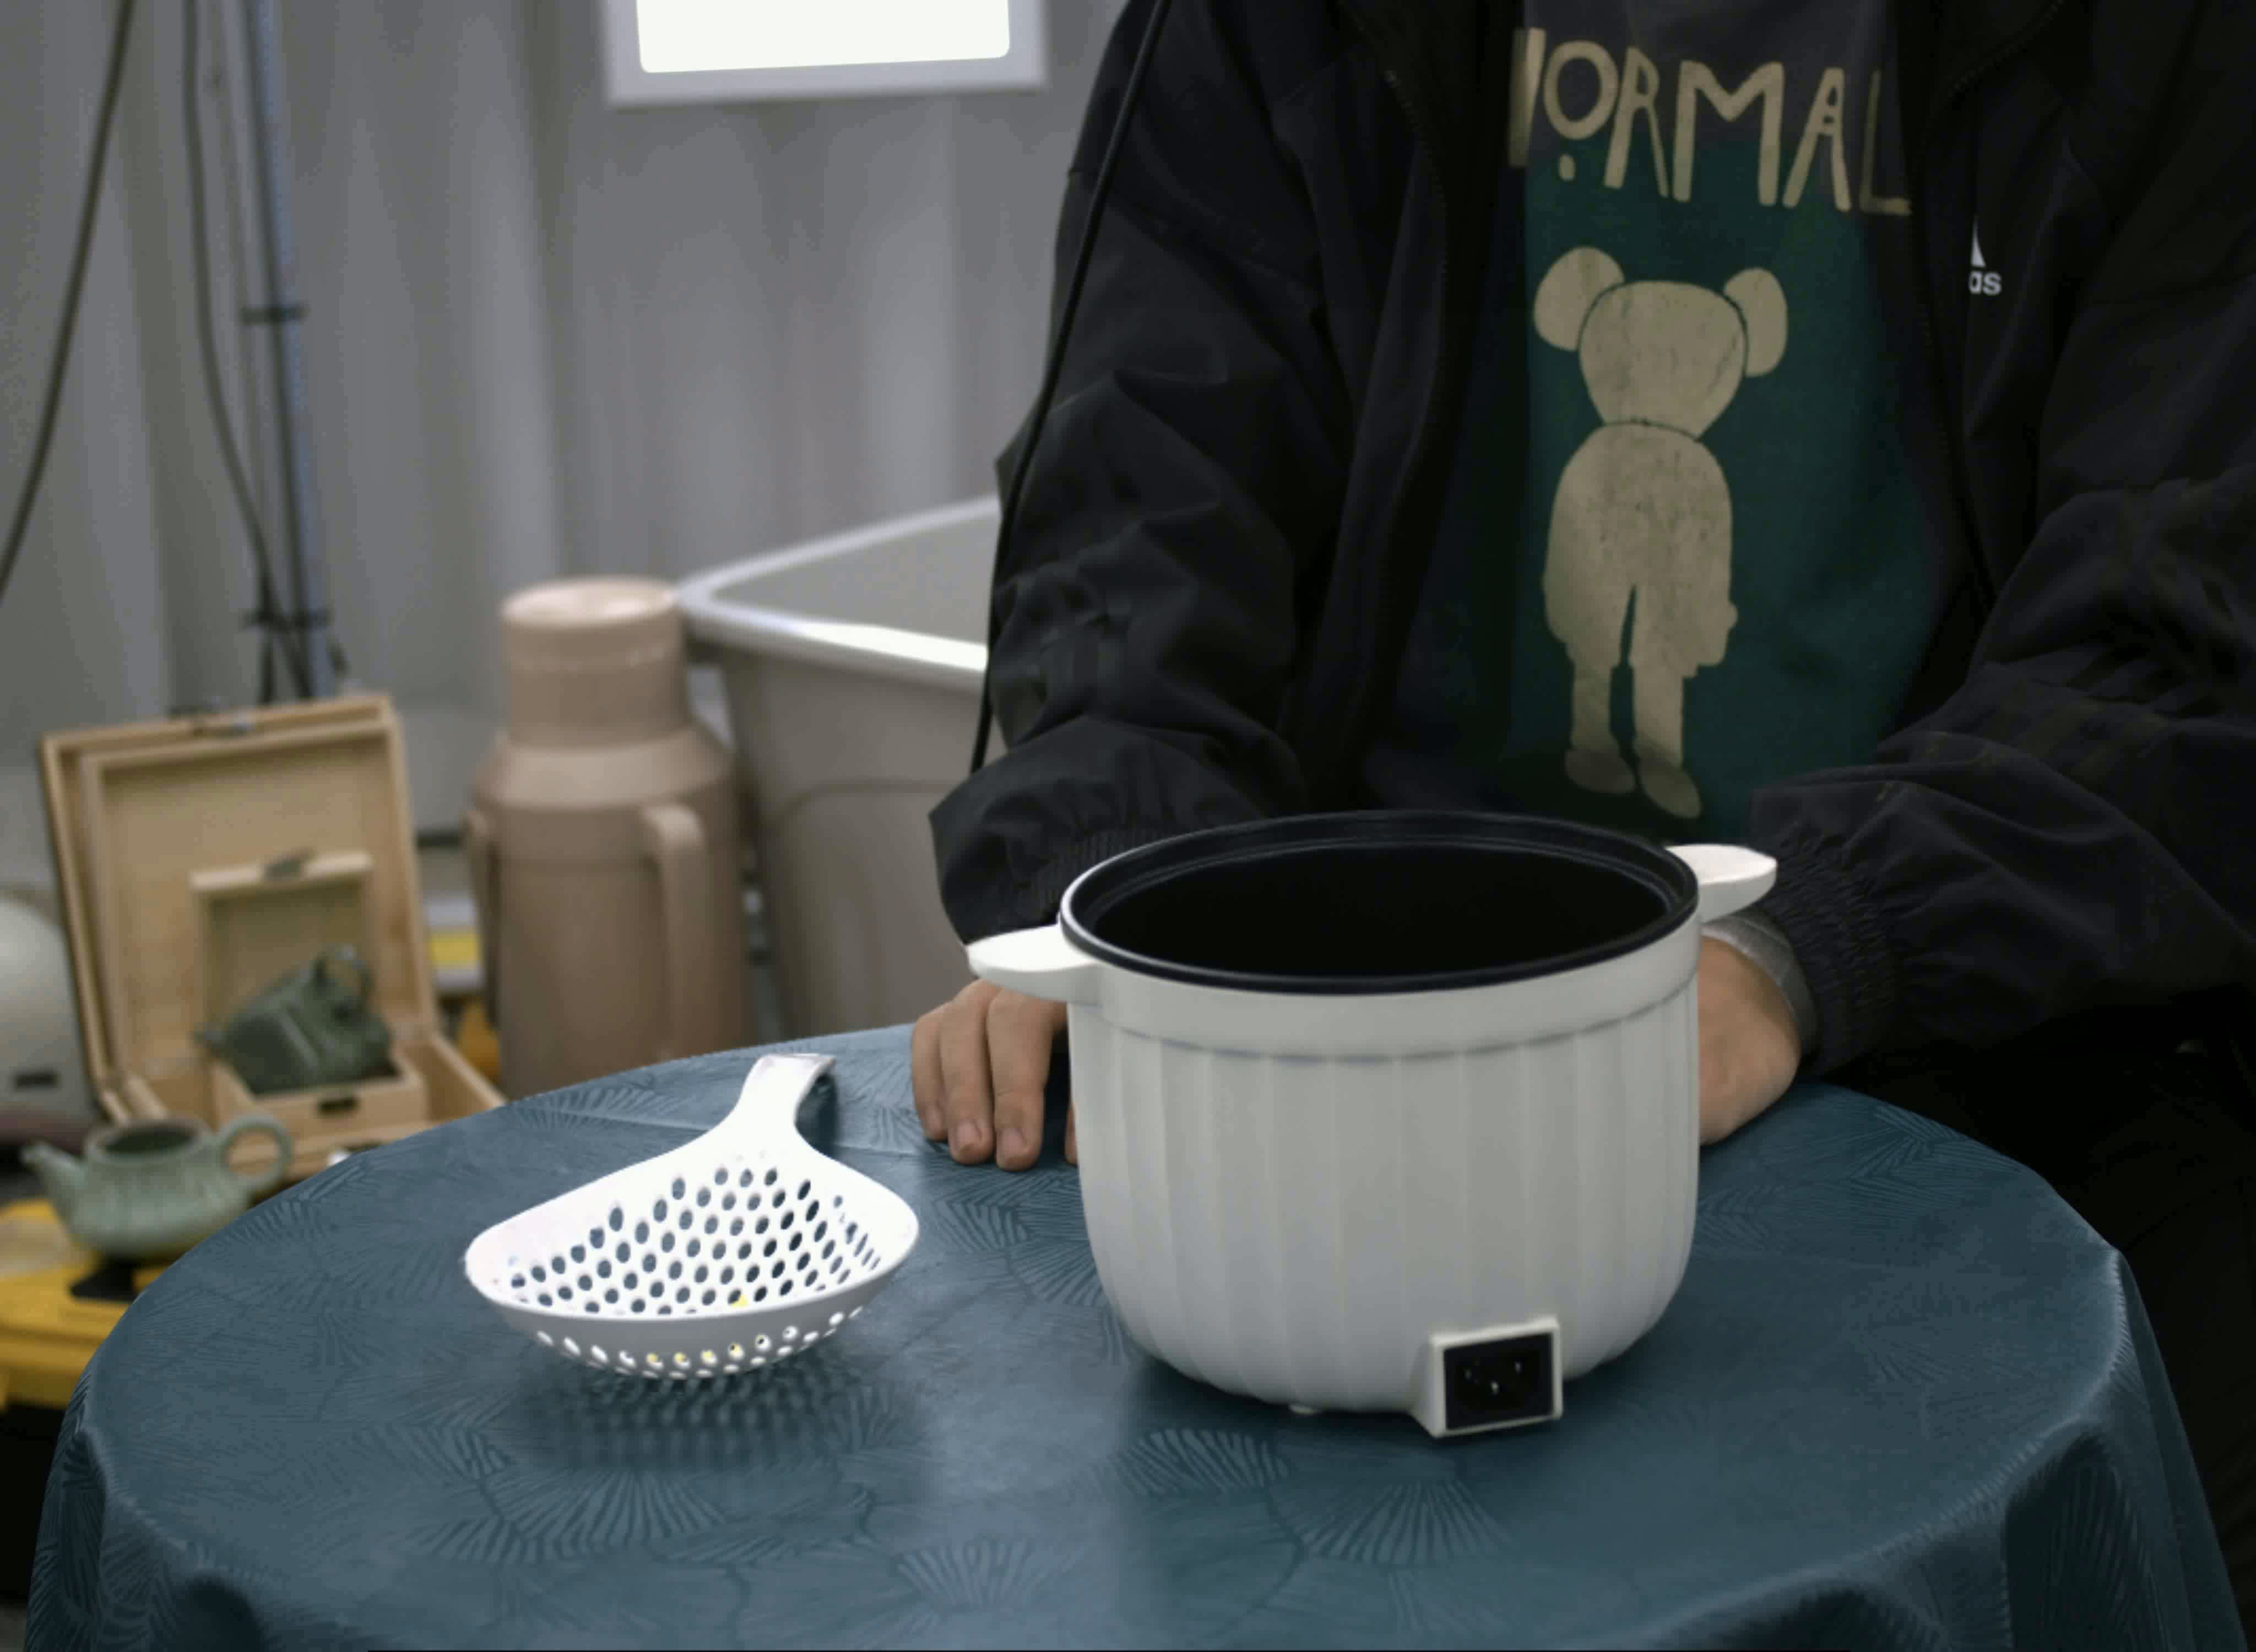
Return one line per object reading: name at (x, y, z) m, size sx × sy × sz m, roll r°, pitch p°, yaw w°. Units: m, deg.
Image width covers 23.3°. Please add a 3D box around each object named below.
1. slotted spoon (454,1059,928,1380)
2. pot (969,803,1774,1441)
slotted spoon at (-0.117, 0.107, 1.684) m, size 0.136 × 0.050 × 0.350 m, roll -3°, pitch 16°, yaw 4°
pot at (0.070, 0.081, 1.561) m, size 0.239 × 0.142 × 0.192 m, roll -6°, pitch 18°, yaw -17°
